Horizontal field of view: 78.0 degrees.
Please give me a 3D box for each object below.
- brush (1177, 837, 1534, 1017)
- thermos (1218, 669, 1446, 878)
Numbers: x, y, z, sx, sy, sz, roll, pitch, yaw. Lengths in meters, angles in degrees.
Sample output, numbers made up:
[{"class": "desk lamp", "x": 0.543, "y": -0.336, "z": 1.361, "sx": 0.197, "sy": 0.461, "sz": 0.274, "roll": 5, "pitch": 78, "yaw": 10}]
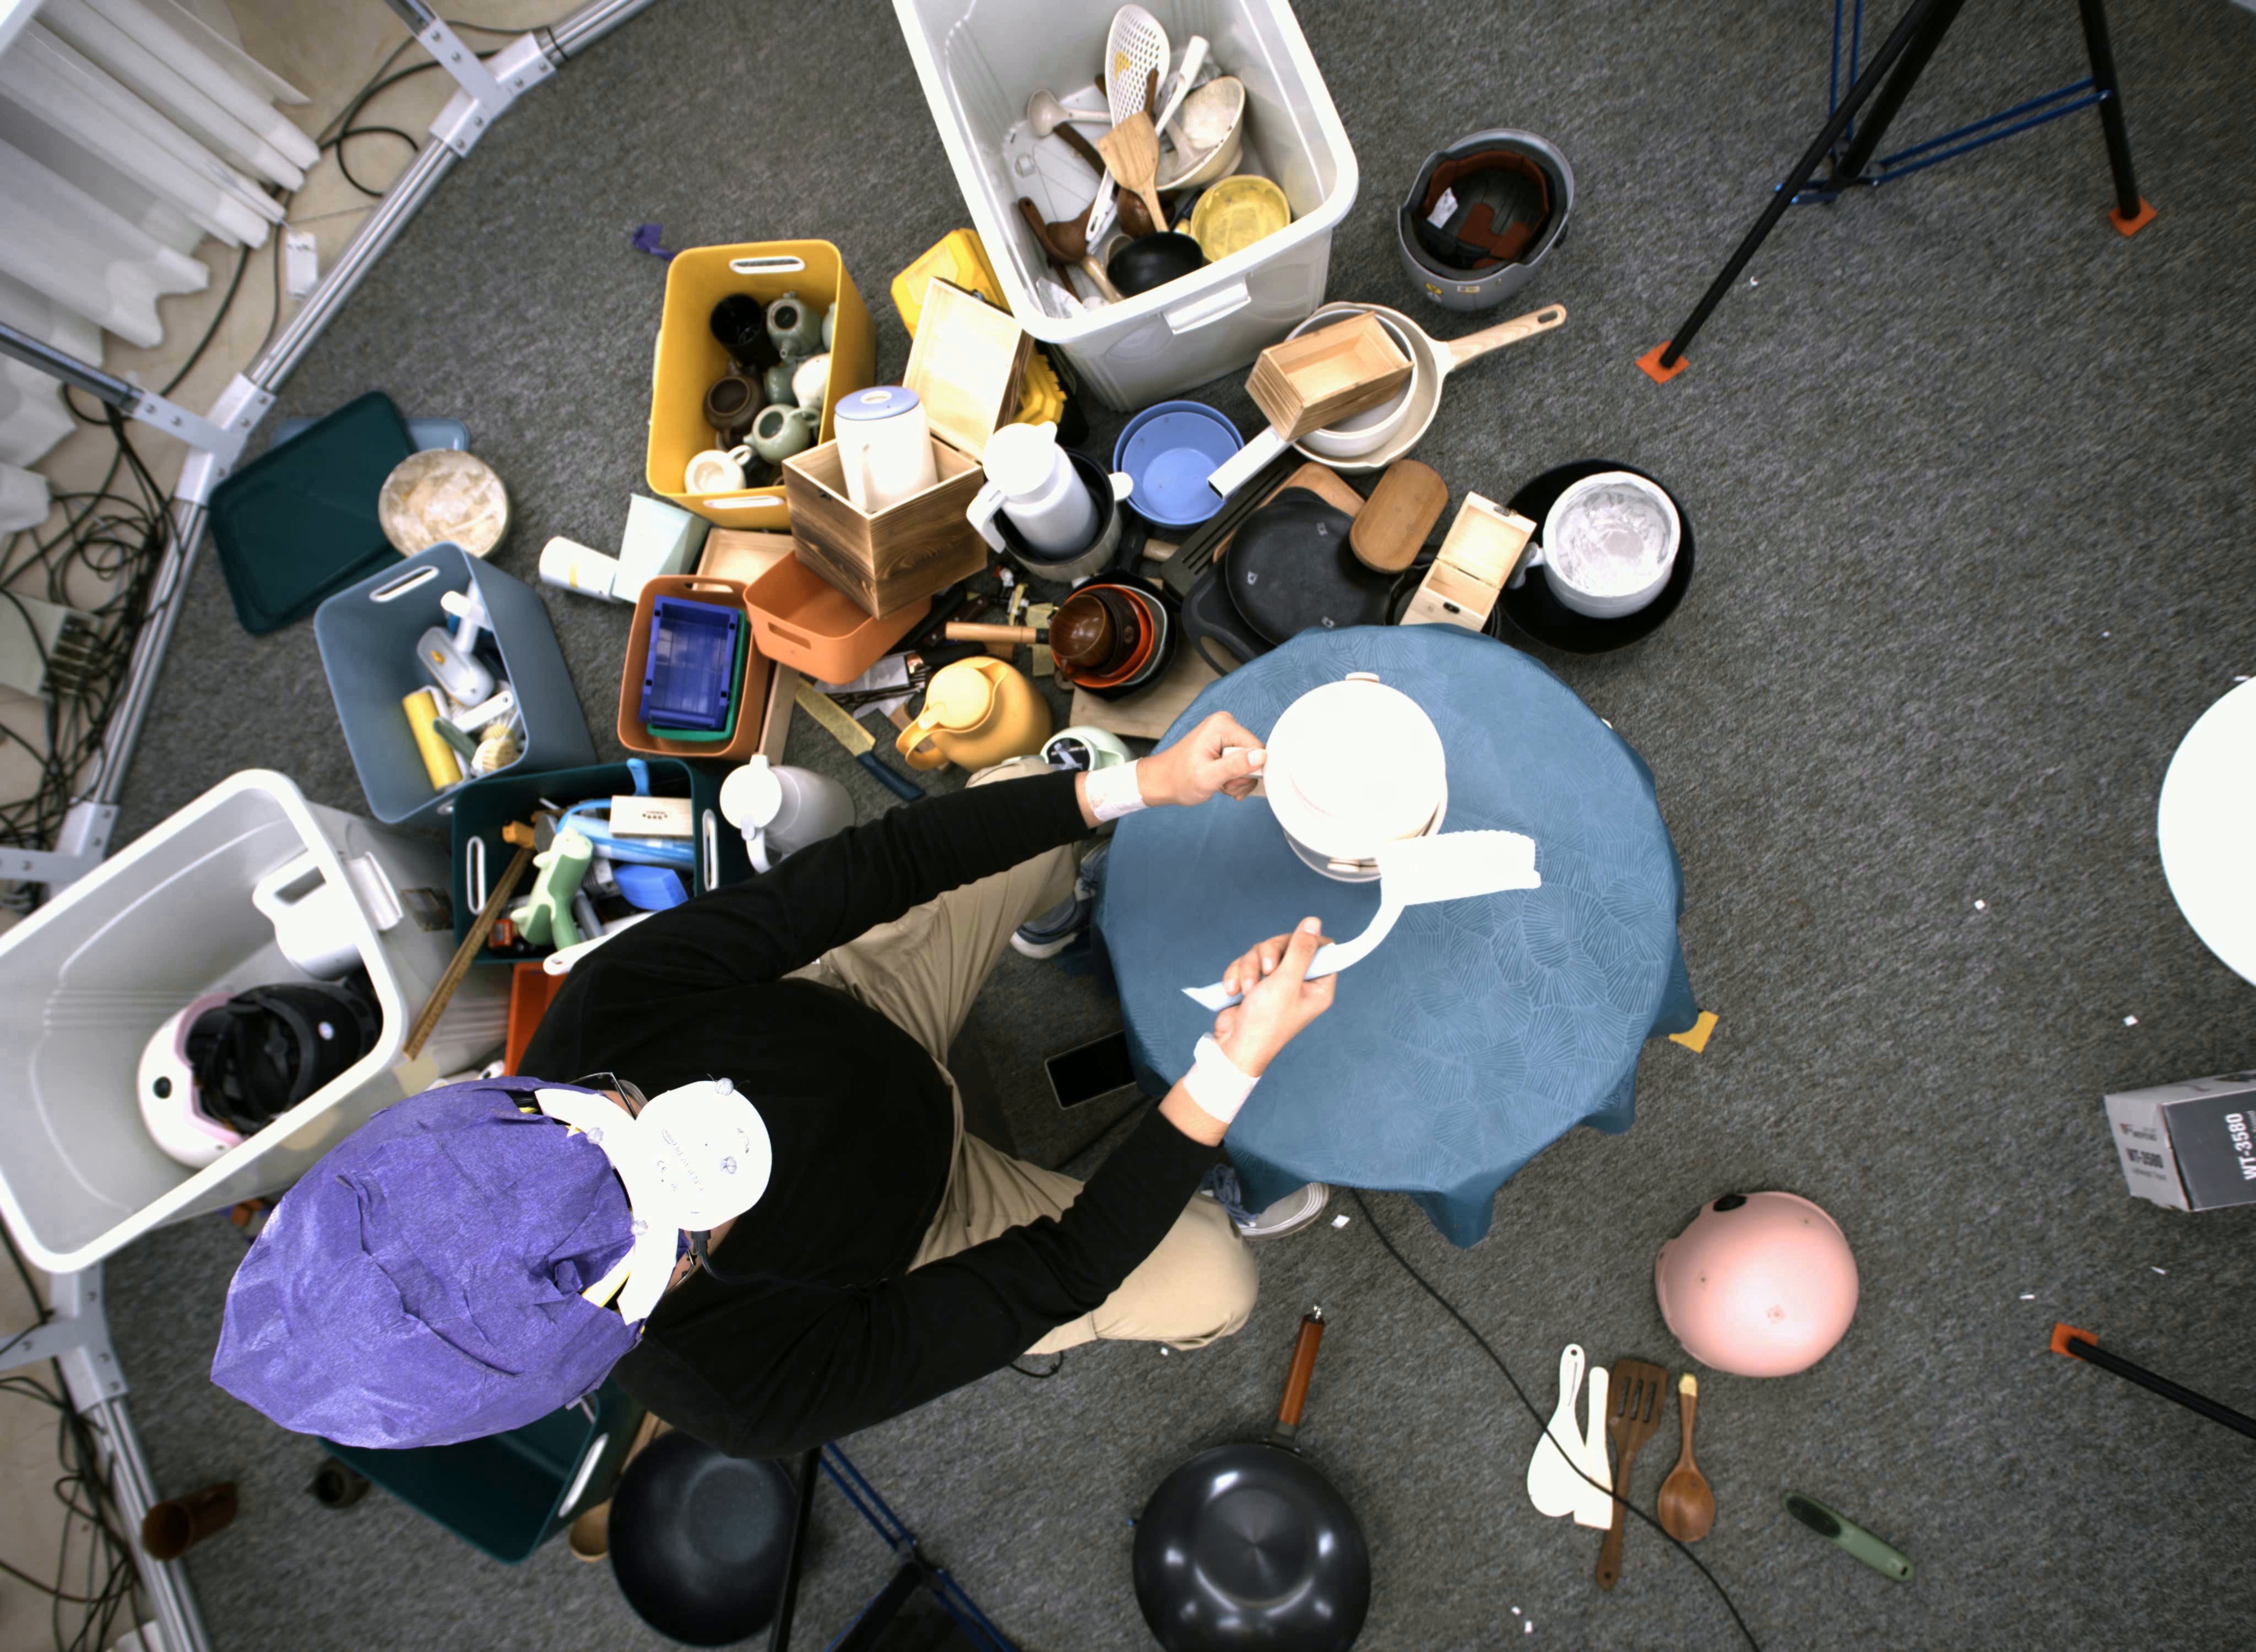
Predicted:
[{"class": "brush", "x": 0.184, "y": 0.068, "z": 1.185, "sx": 0.328, "sy": 0.082, "sz": 0.084, "roll": -21, "pitch": 121, "yaw": 15}, {"class": "thermos", "x": 0.194, "y": -0.045, "z": 1.279, "sx": 0.207, "sy": 0.406, "sz": 0.175, "roll": 5, "pitch": 87, "yaw": 10}]
